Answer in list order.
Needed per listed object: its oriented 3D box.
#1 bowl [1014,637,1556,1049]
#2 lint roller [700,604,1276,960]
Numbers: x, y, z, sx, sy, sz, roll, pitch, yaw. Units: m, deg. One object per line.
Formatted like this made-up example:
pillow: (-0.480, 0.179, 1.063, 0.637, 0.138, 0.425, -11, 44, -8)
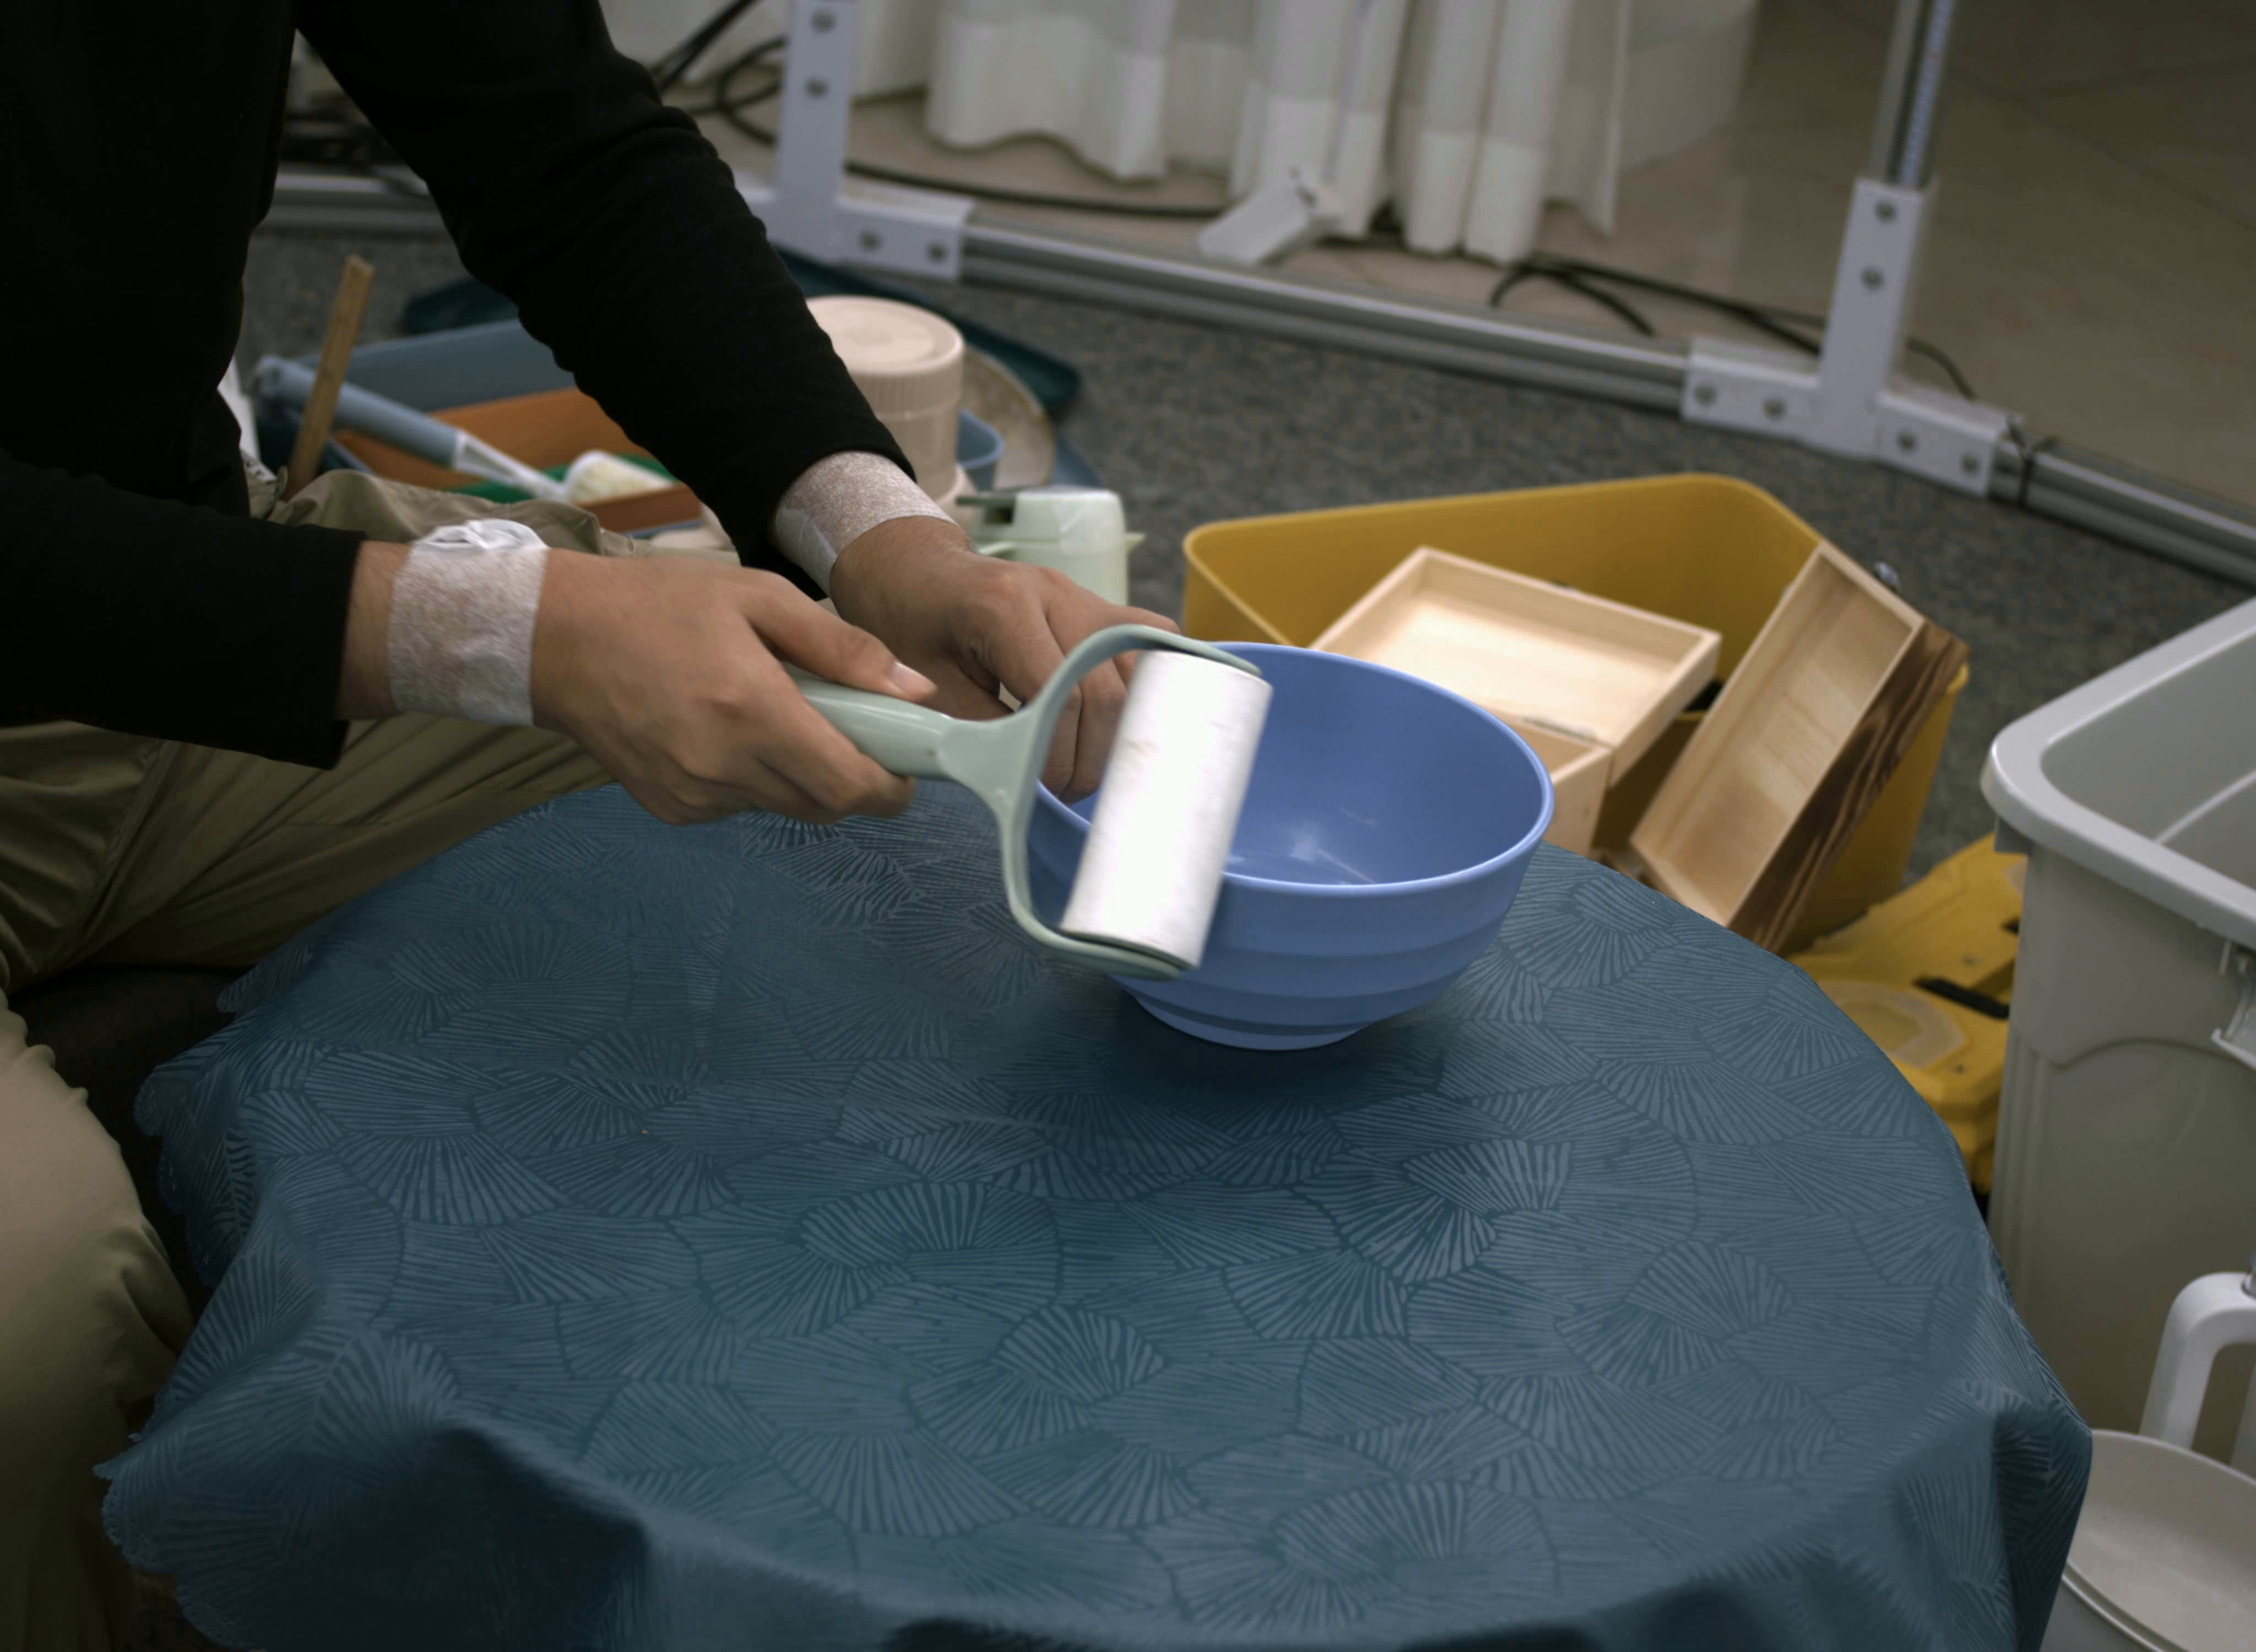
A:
bowl: (0.050, 0.017, 1.915, 0.196, 0.095, 0.198, 6, 28, -3)
lint roller: (-0.054, -0.029, 1.809, 0.197, 0.117, 0.048, 13, -7, 11)
